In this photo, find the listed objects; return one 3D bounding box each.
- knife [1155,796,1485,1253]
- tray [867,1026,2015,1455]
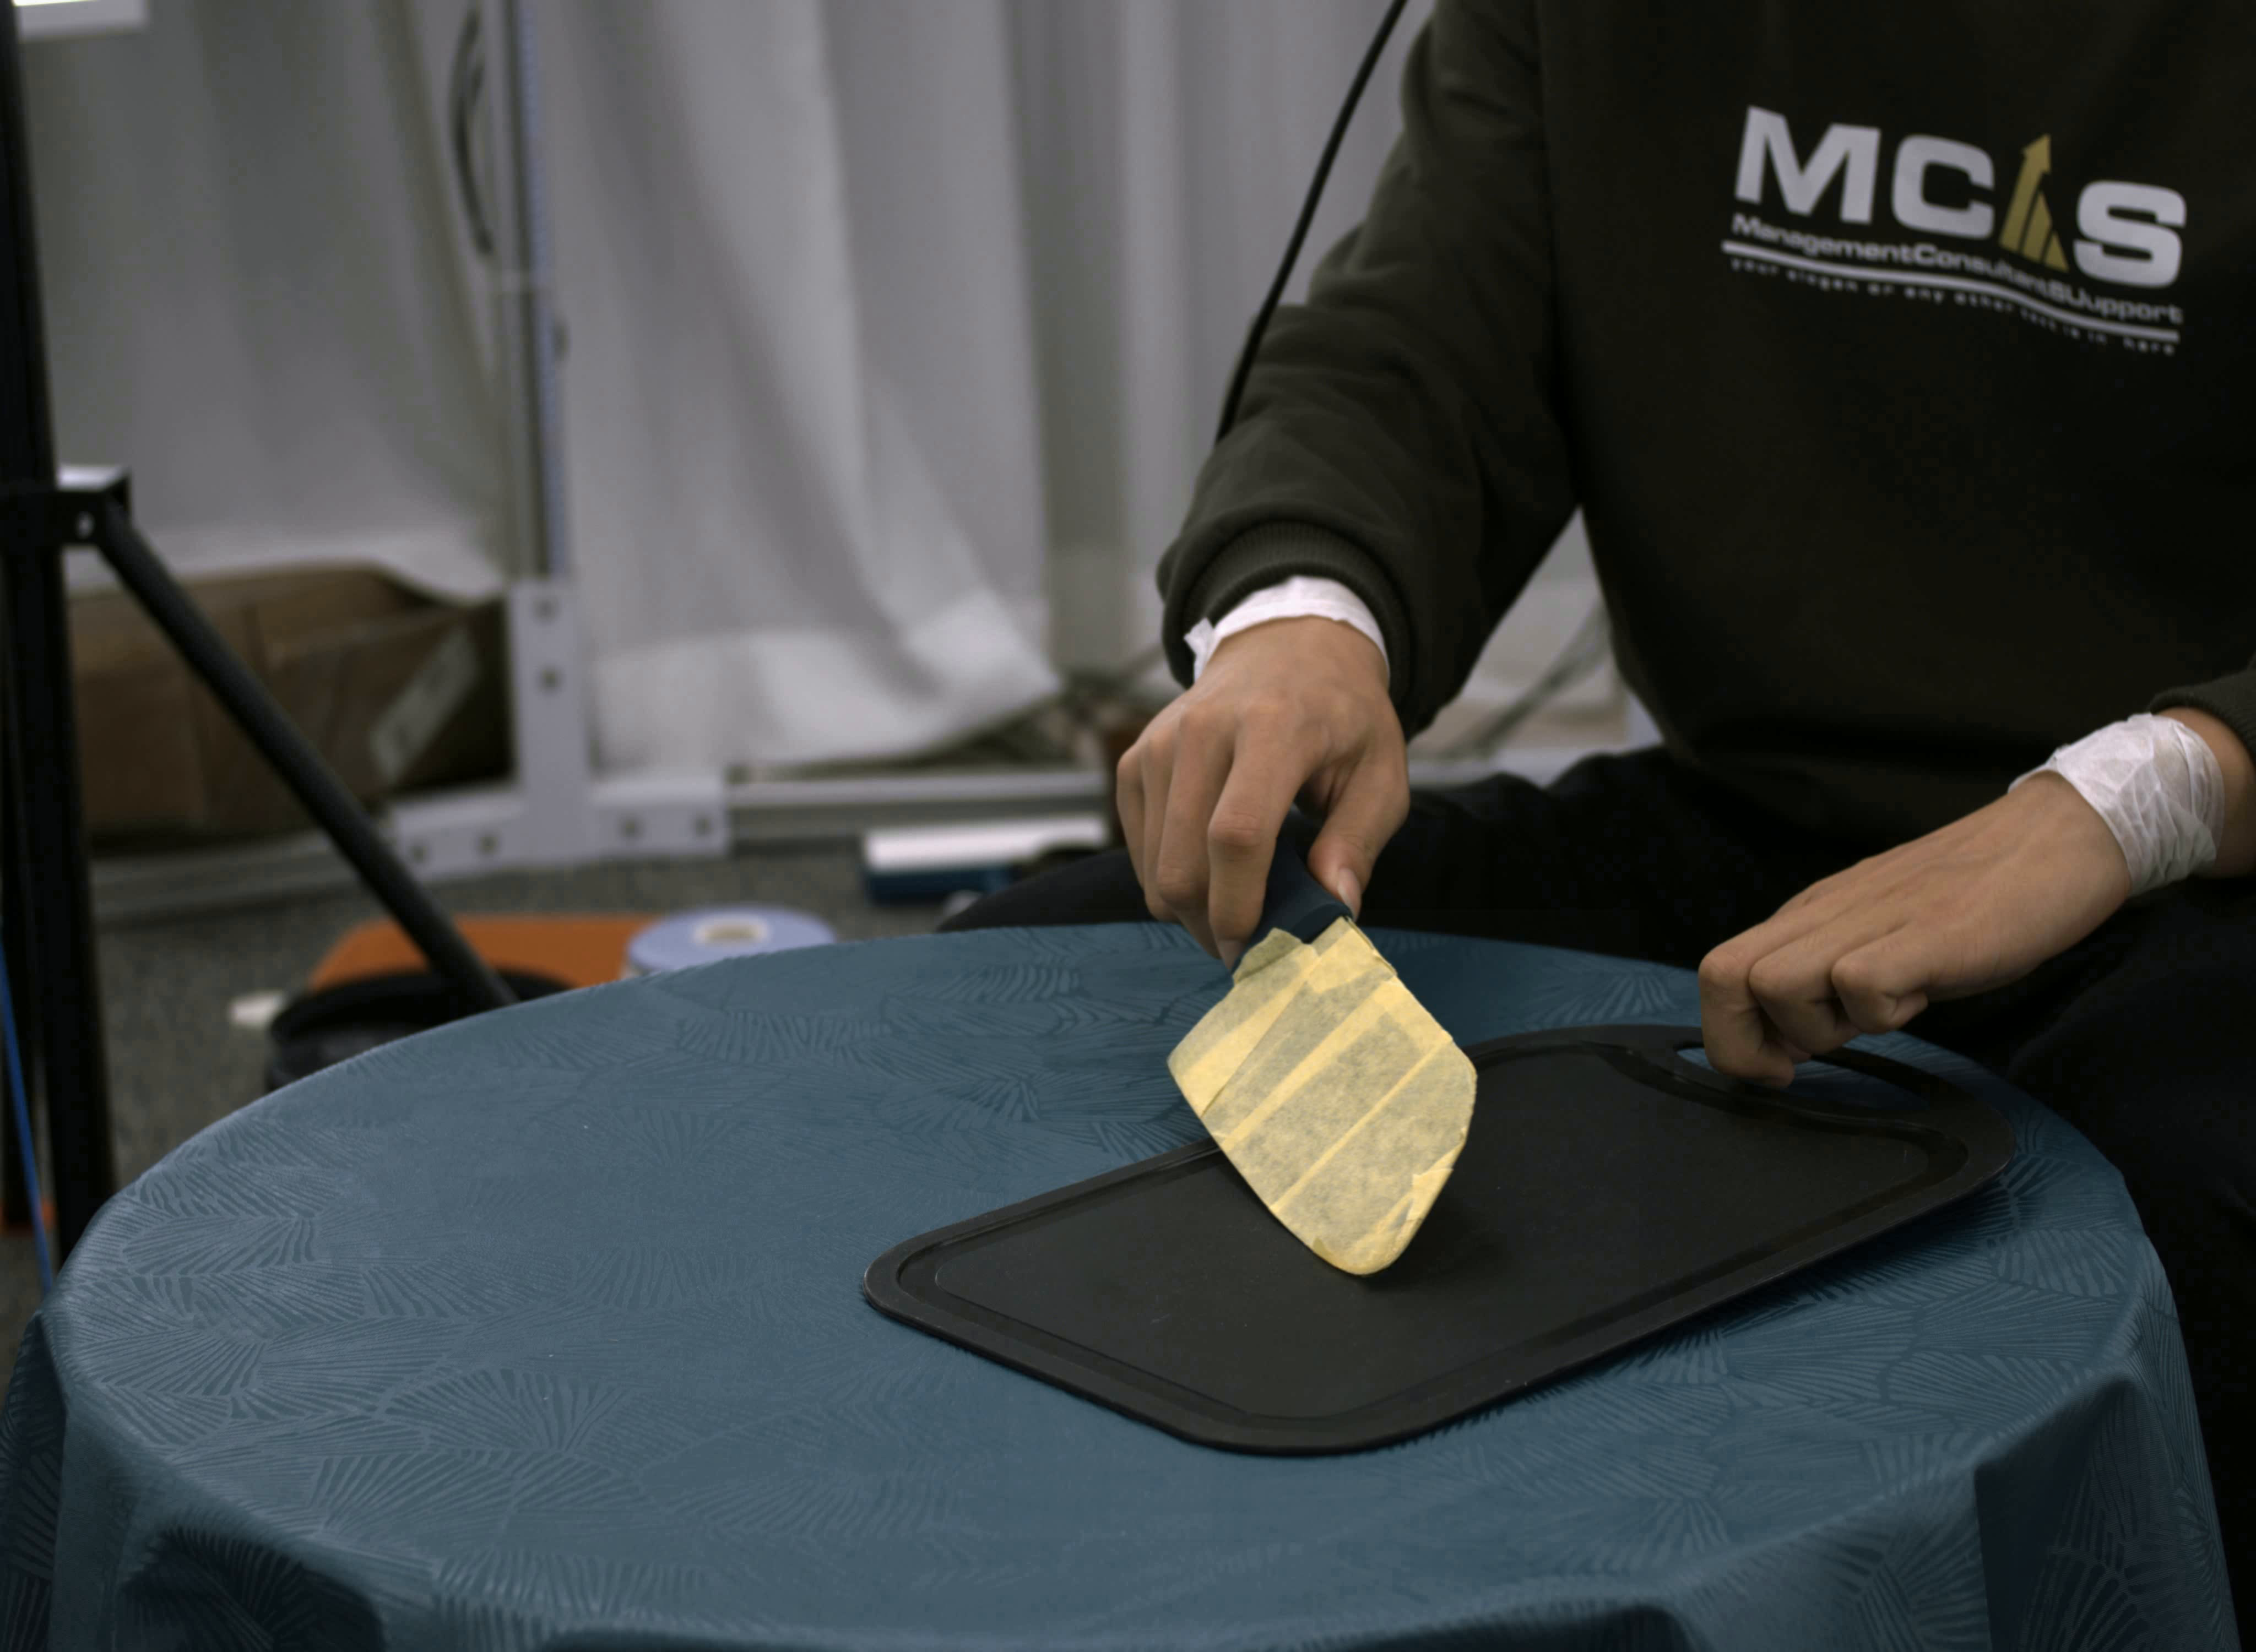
[{"bbox_3d":[0.046,0.056,1.592,0.081,0.027,0.294,-41,25,4],"label":"knife"},{"bbox_3d":[0.098,0.109,1.514,0.318,0.010,0.216,-16,20,-36],"label":"tray"}]
